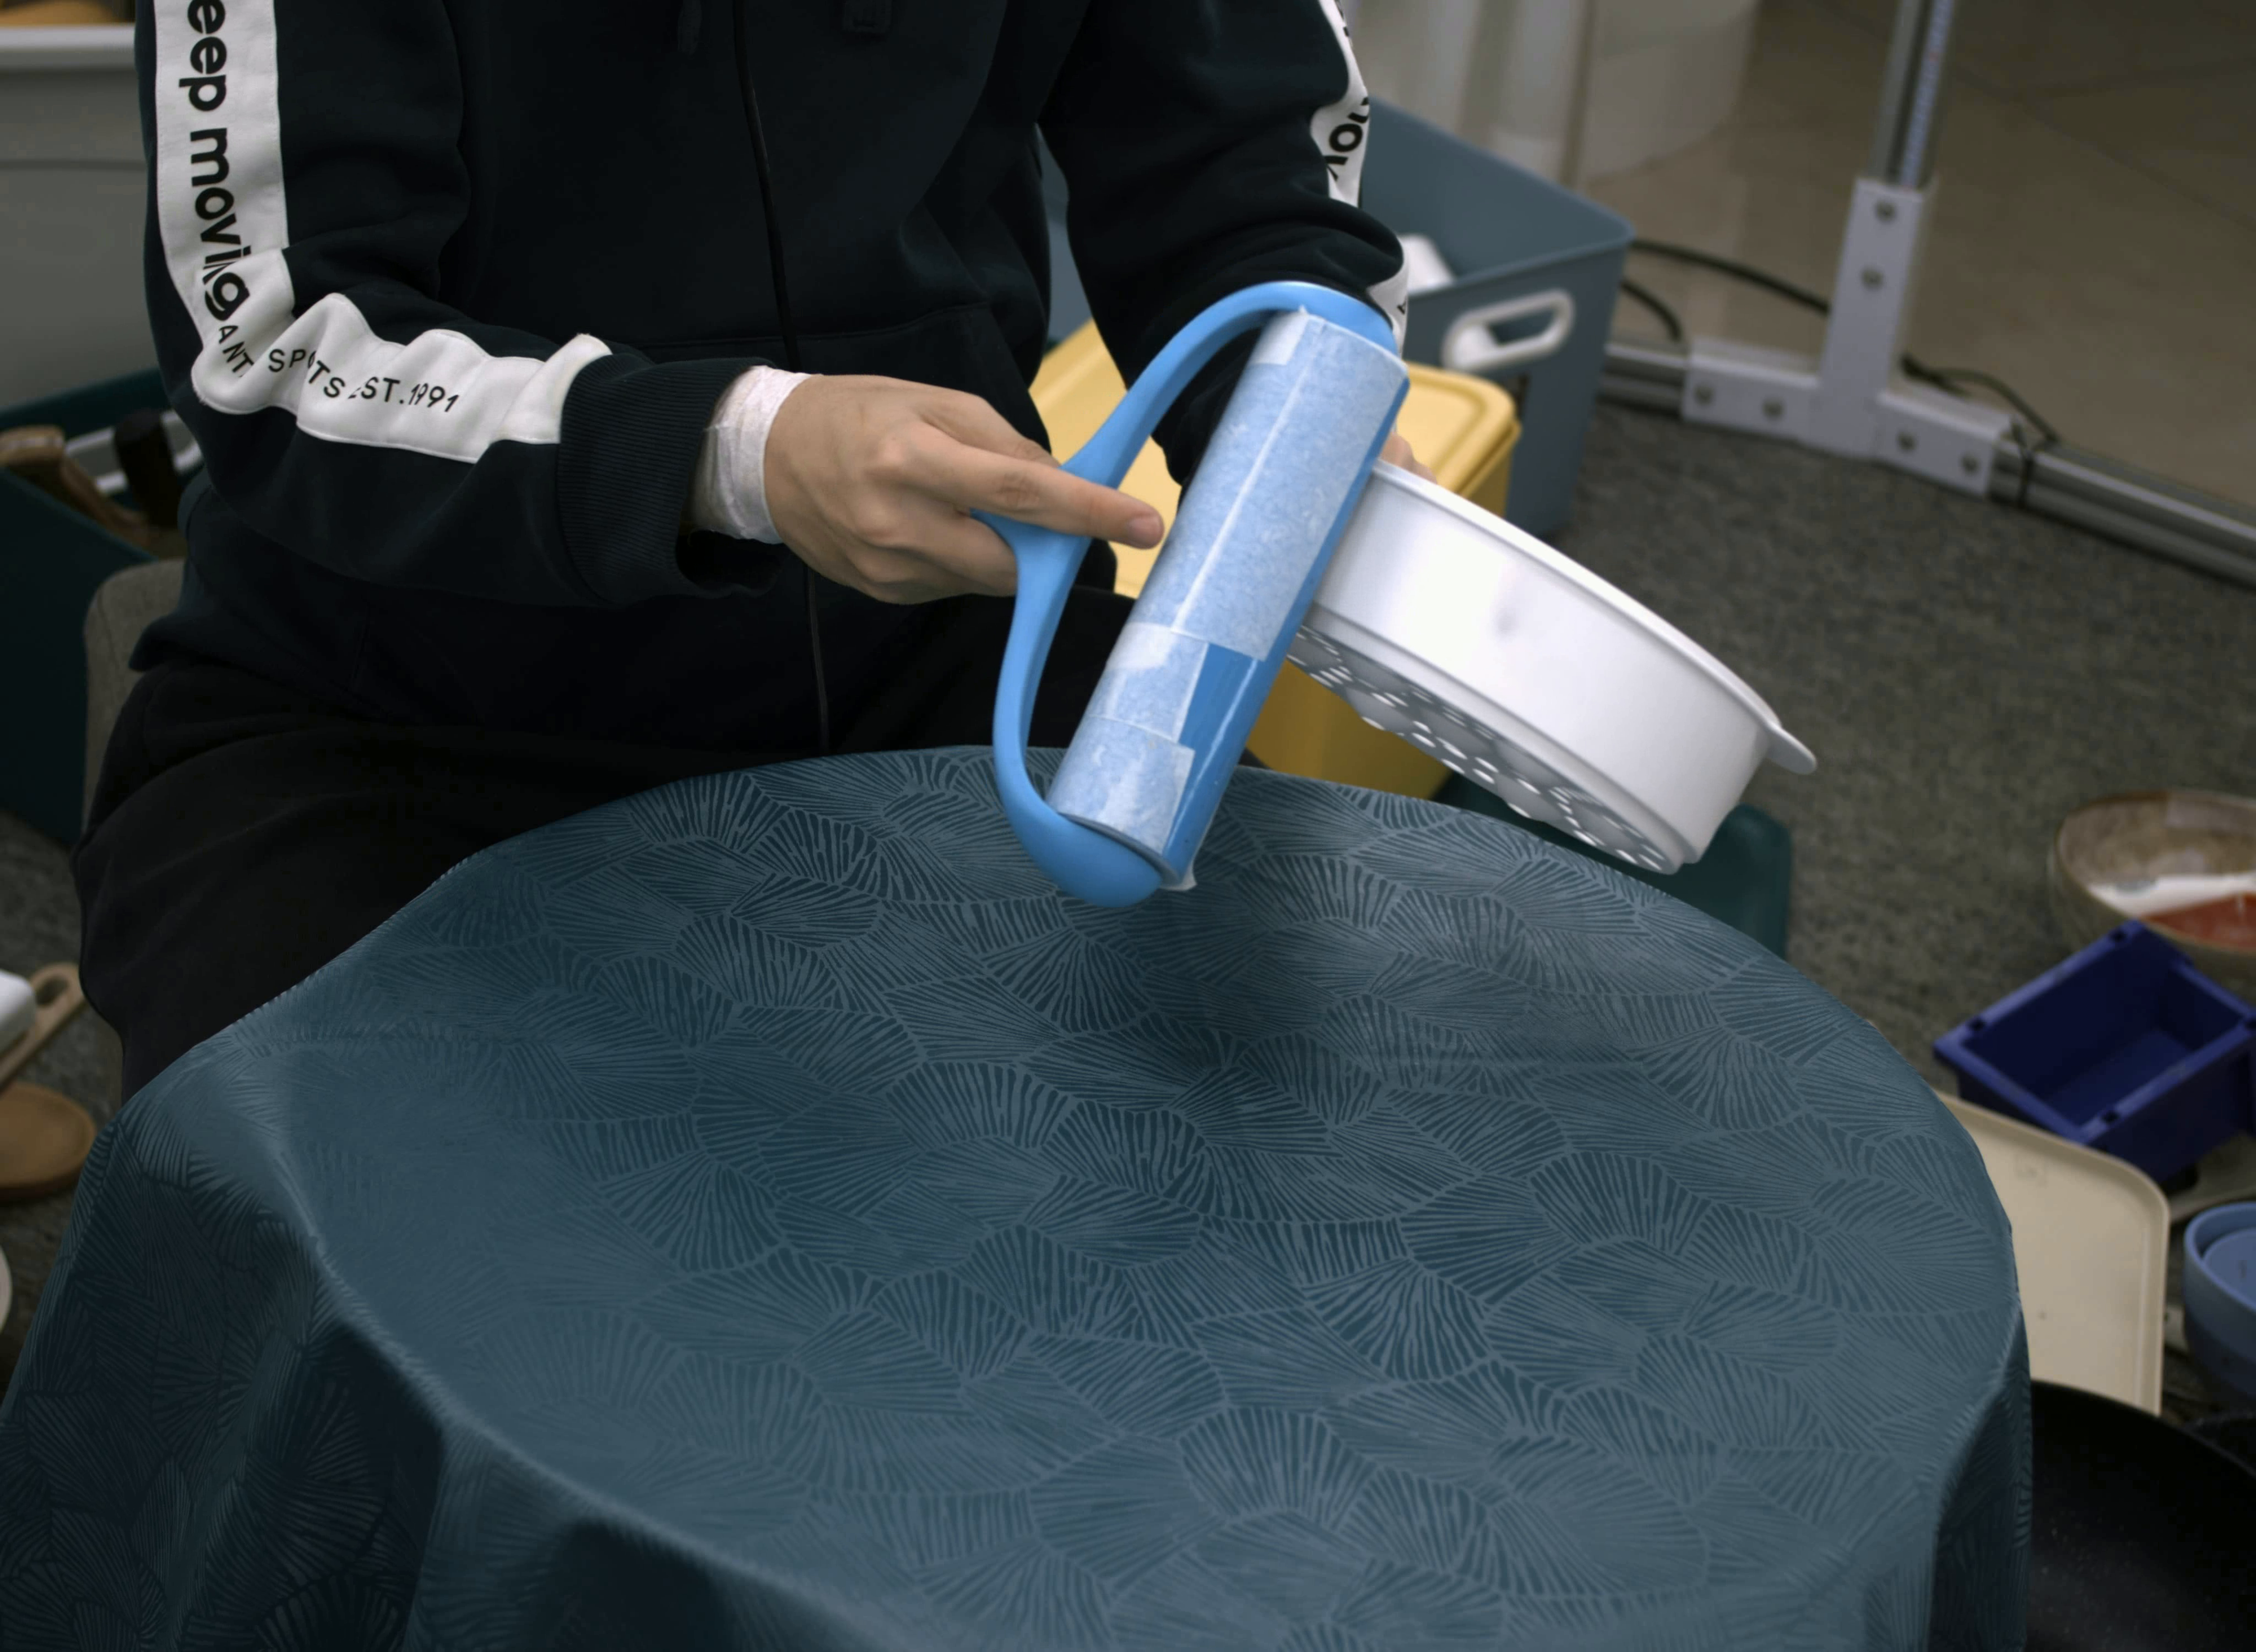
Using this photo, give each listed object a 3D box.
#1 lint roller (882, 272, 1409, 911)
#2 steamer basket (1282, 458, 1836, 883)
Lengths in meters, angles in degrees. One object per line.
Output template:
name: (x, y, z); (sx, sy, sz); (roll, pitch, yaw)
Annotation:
lint roller: (-0.017, -0.090, 1.809); (0.181, 0.230, 0.067); (13, -15, 26)
steamer basket: (0.134, -0.052, 1.872); (0.231, 0.069, 0.201); (30, -5, 7)
